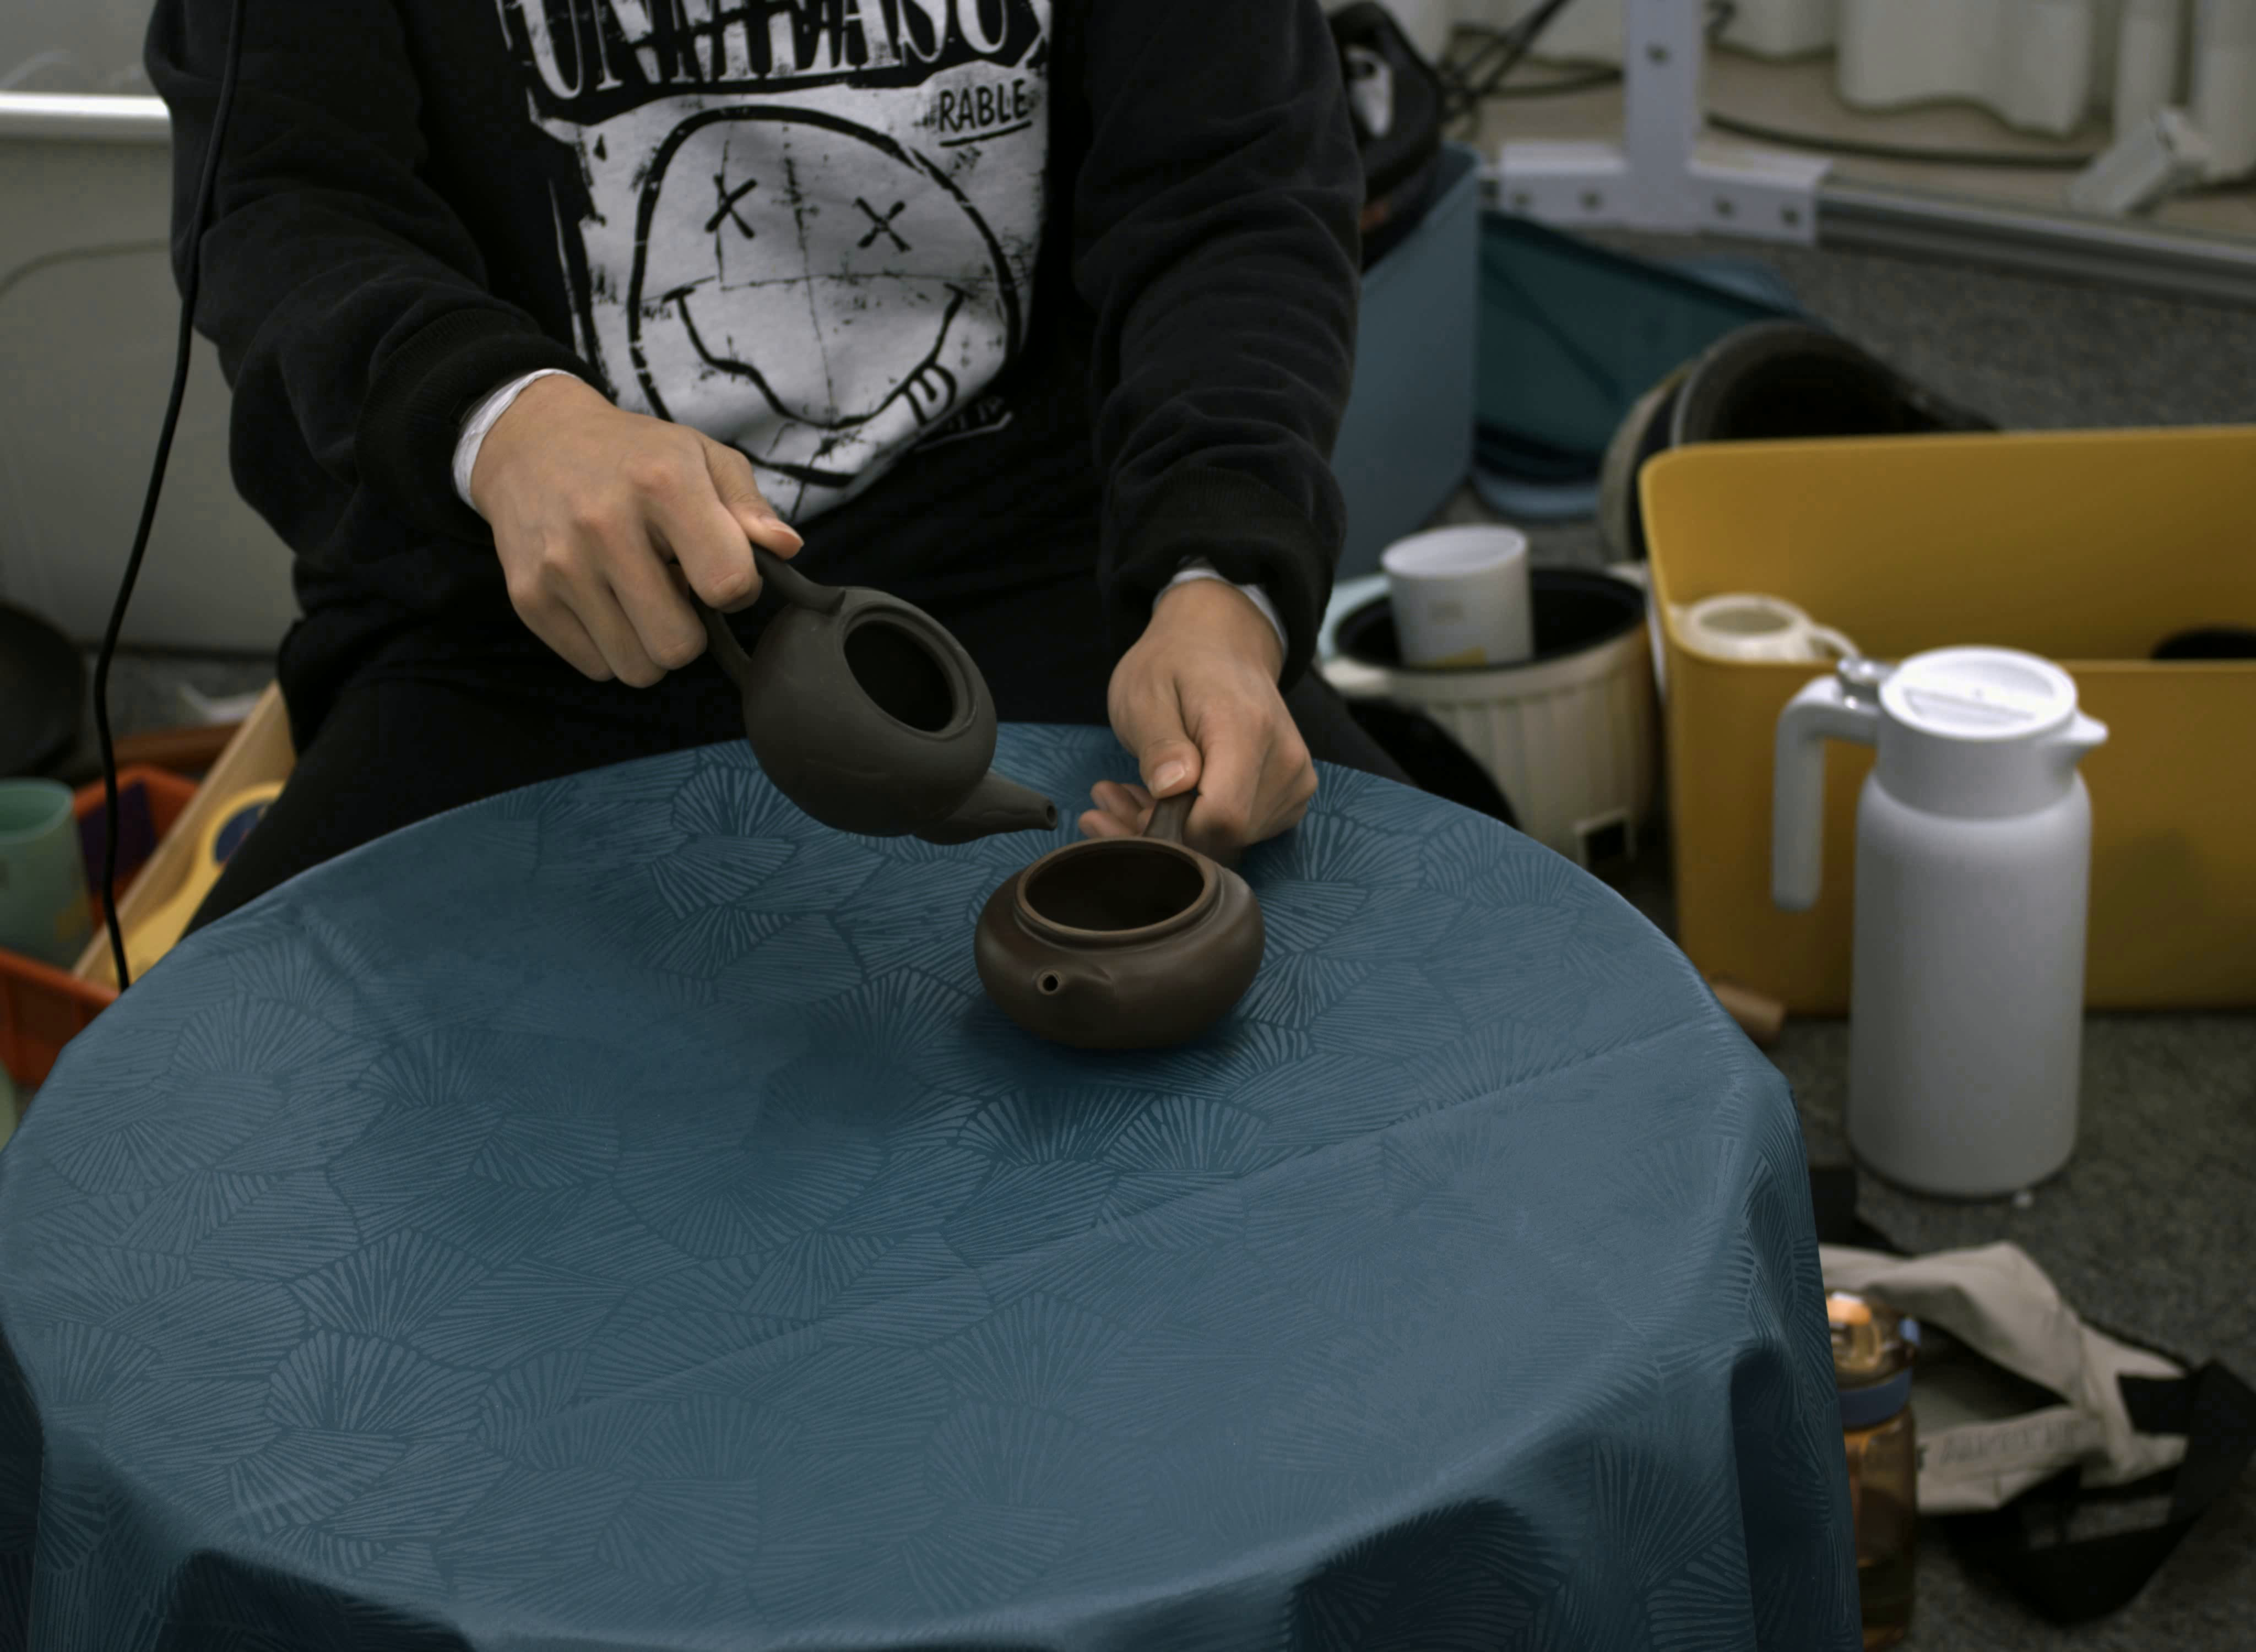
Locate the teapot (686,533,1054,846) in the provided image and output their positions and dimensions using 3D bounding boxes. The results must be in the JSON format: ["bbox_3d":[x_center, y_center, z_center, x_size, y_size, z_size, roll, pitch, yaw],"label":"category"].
[{"bbox_3d":[-0.093,-0.040,1.932,0.154,0.063,0.094,43,33,-2],"label":"teapot"}]

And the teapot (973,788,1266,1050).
[{"bbox_3d":[-0.002,0.037,1.962,0.102,0.053,0.156,5,31,12],"label":"teapot"}]
